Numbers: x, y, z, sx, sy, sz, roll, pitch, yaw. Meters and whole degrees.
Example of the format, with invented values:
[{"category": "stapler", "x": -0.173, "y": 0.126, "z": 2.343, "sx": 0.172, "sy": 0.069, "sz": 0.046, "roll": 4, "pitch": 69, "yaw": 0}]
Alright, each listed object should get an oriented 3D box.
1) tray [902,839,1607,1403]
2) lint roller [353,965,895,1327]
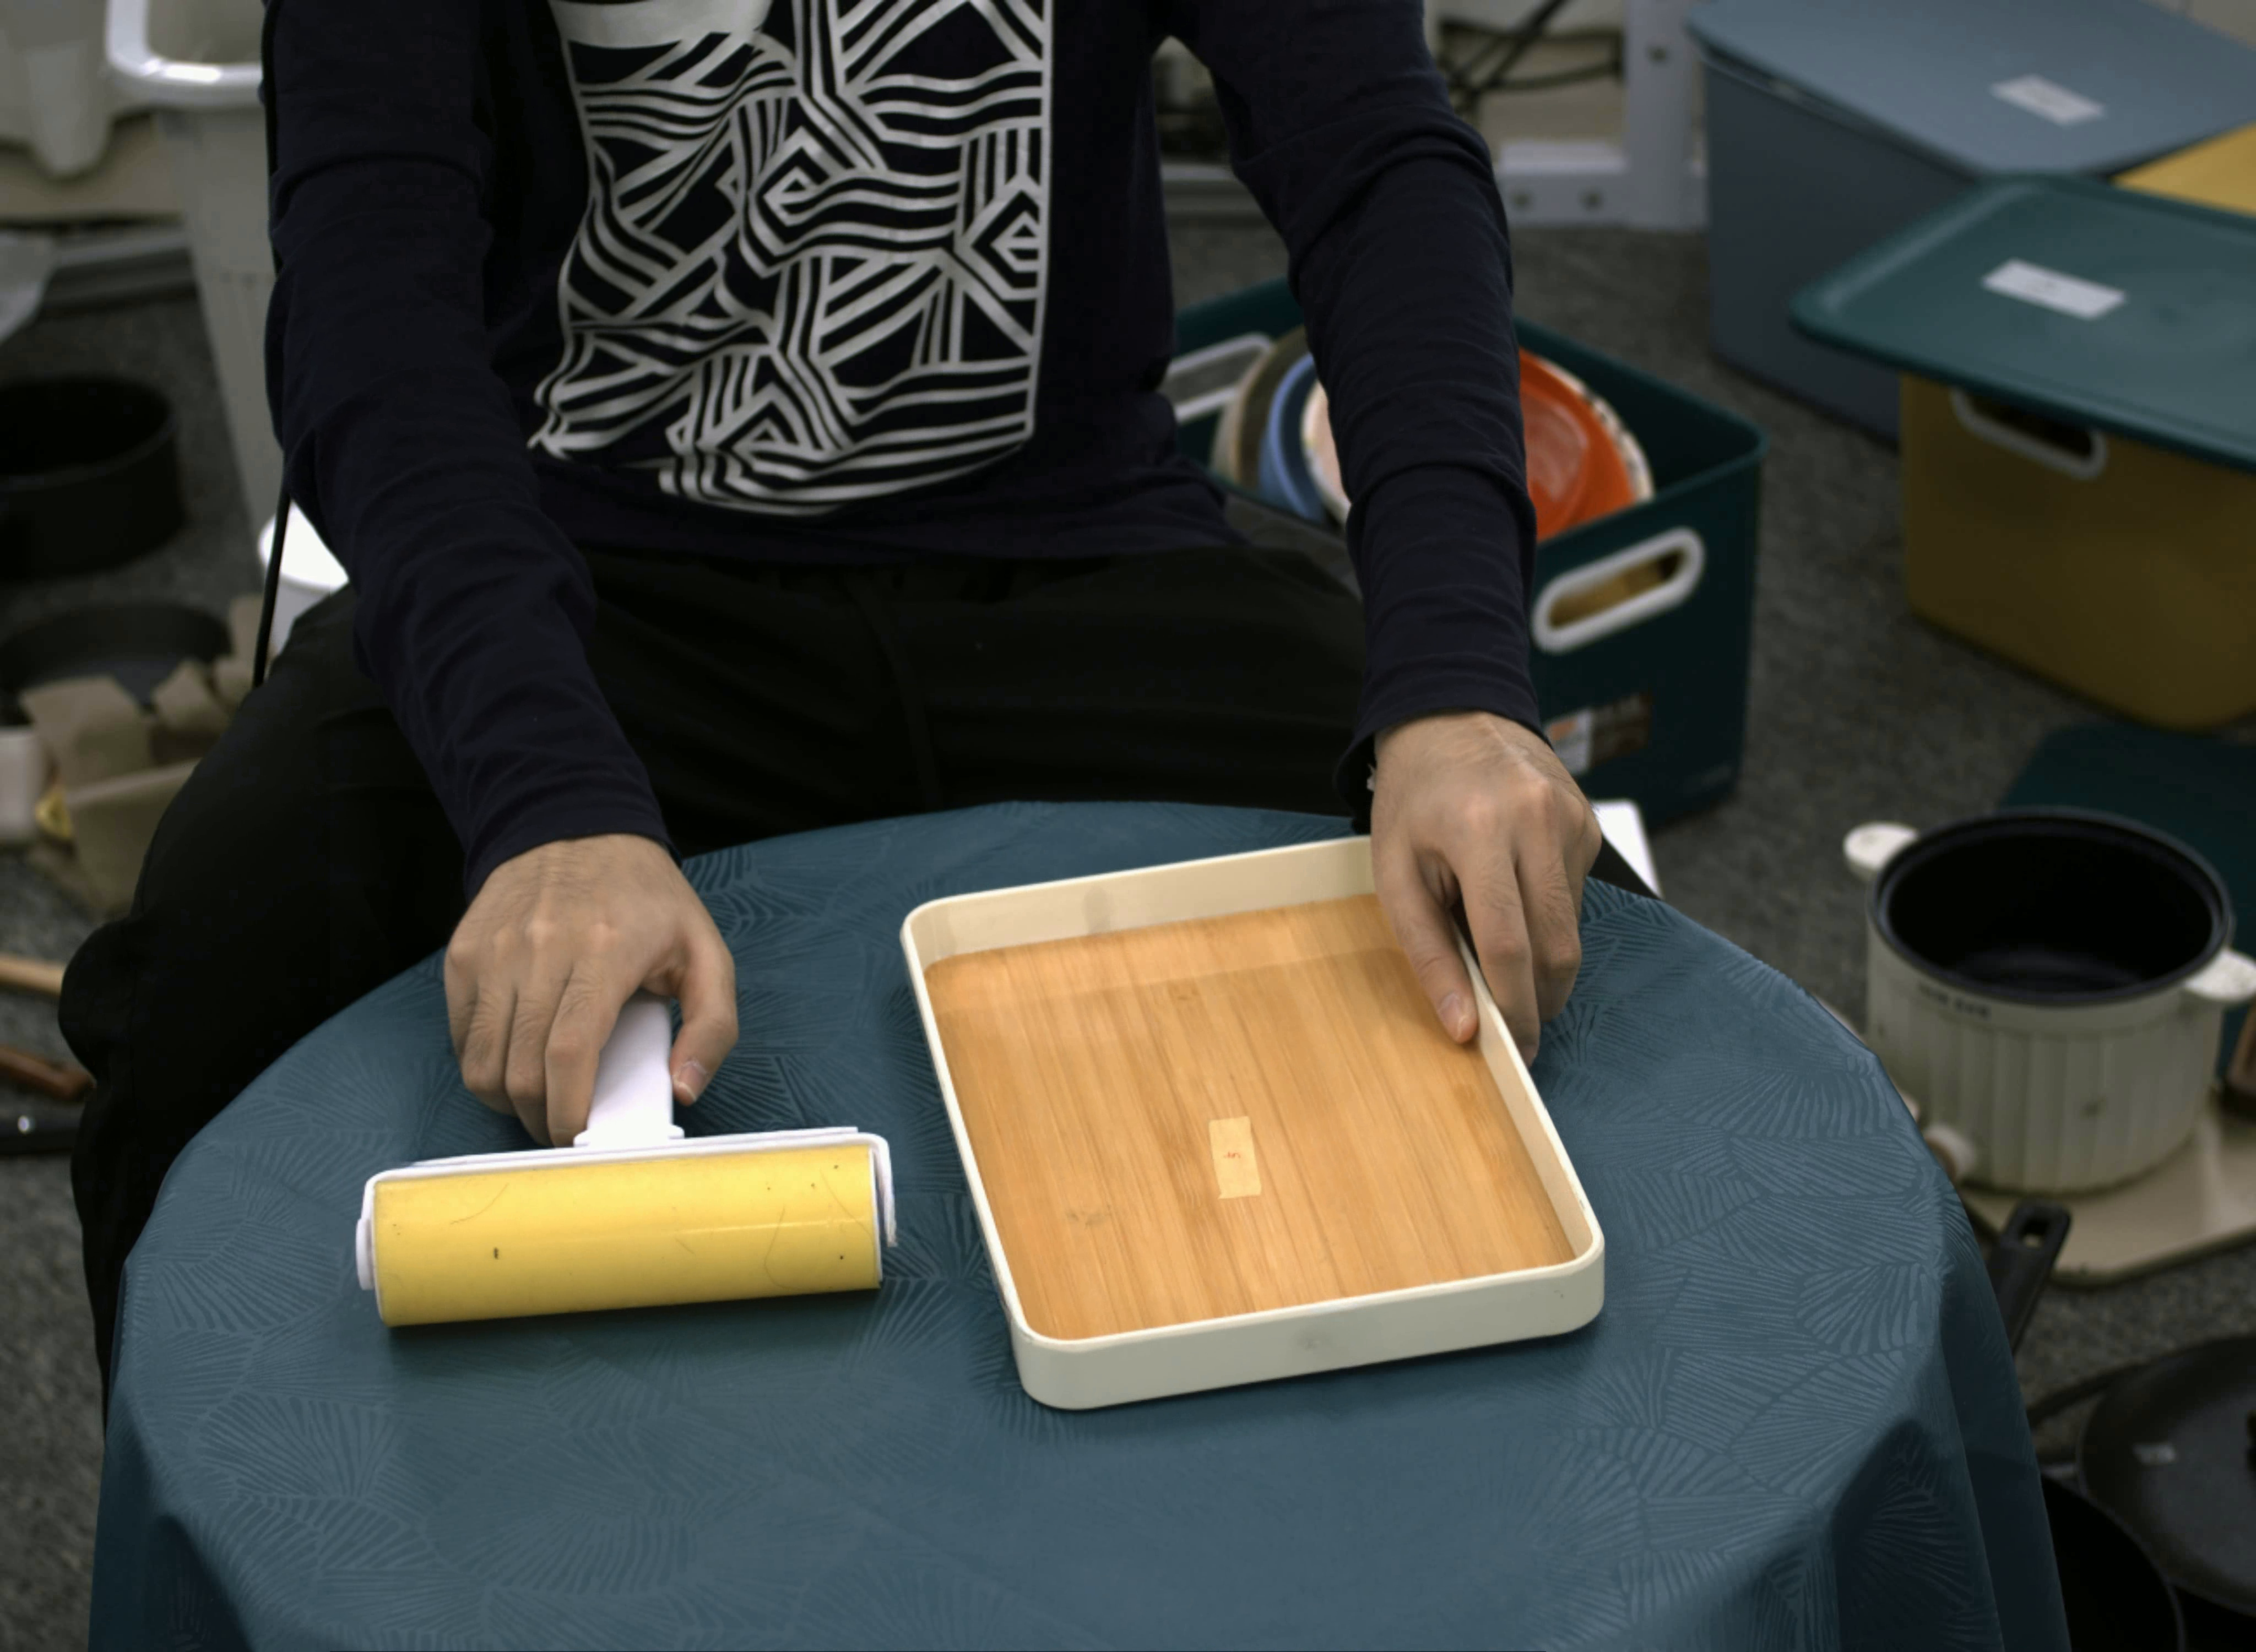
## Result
[{"category": "tray", "x": 0.036, "y": 0.093, "z": 1.879, "sx": 0.191, "sy": 0.027, "sz": 0.304, "roll": -7, "pitch": 27, "yaw": -7}, {"category": "lint roller", "x": -0.169, "y": 0.092, "z": 1.864, "sx": 0.174, "sy": 0.051, "sz": 0.195, "roll": -4, "pitch": 36, "yaw": -5}]
